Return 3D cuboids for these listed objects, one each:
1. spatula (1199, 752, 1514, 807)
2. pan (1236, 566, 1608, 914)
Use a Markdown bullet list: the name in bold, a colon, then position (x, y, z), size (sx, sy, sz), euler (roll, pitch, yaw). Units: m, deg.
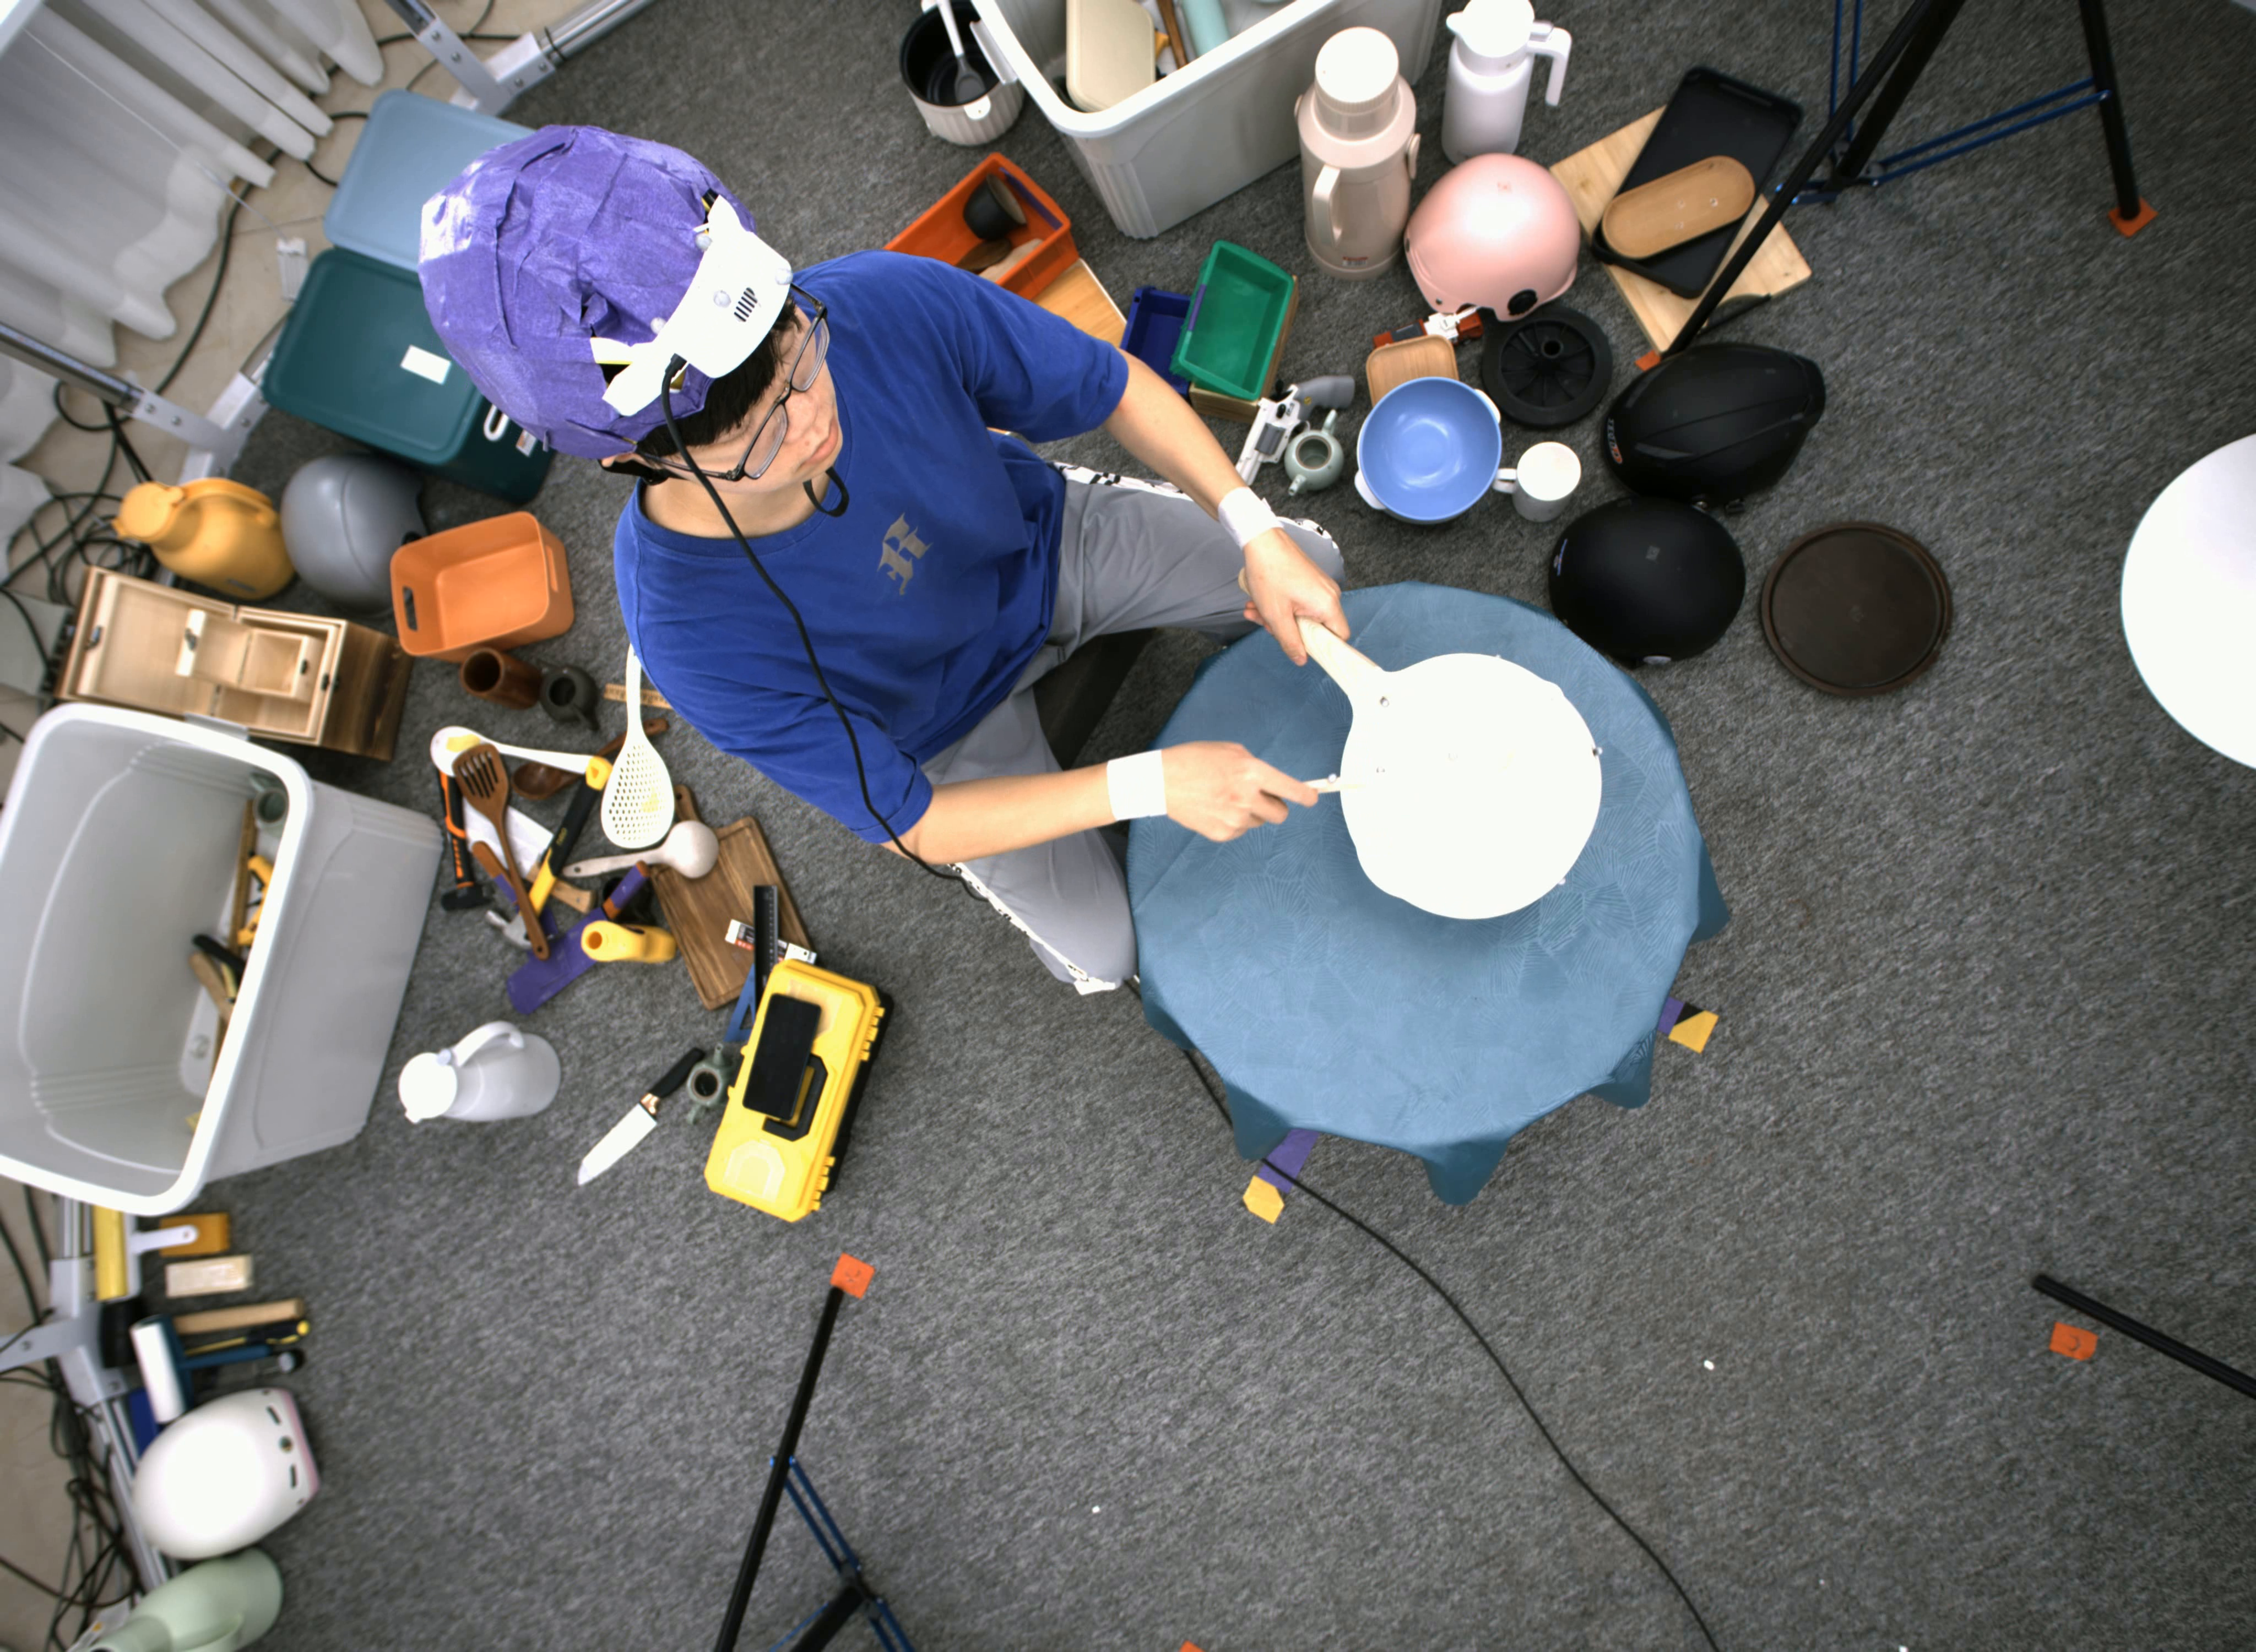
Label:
- **spatula**: position (0.211, -0.041, 1.290), size (0.294, 0.073, 0.010), euler (-7, 76, 7)
- **pan**: position (0.278, -0.111, 1.345), size (0.431, 0.100, 0.269), euler (48, 123, 18)
